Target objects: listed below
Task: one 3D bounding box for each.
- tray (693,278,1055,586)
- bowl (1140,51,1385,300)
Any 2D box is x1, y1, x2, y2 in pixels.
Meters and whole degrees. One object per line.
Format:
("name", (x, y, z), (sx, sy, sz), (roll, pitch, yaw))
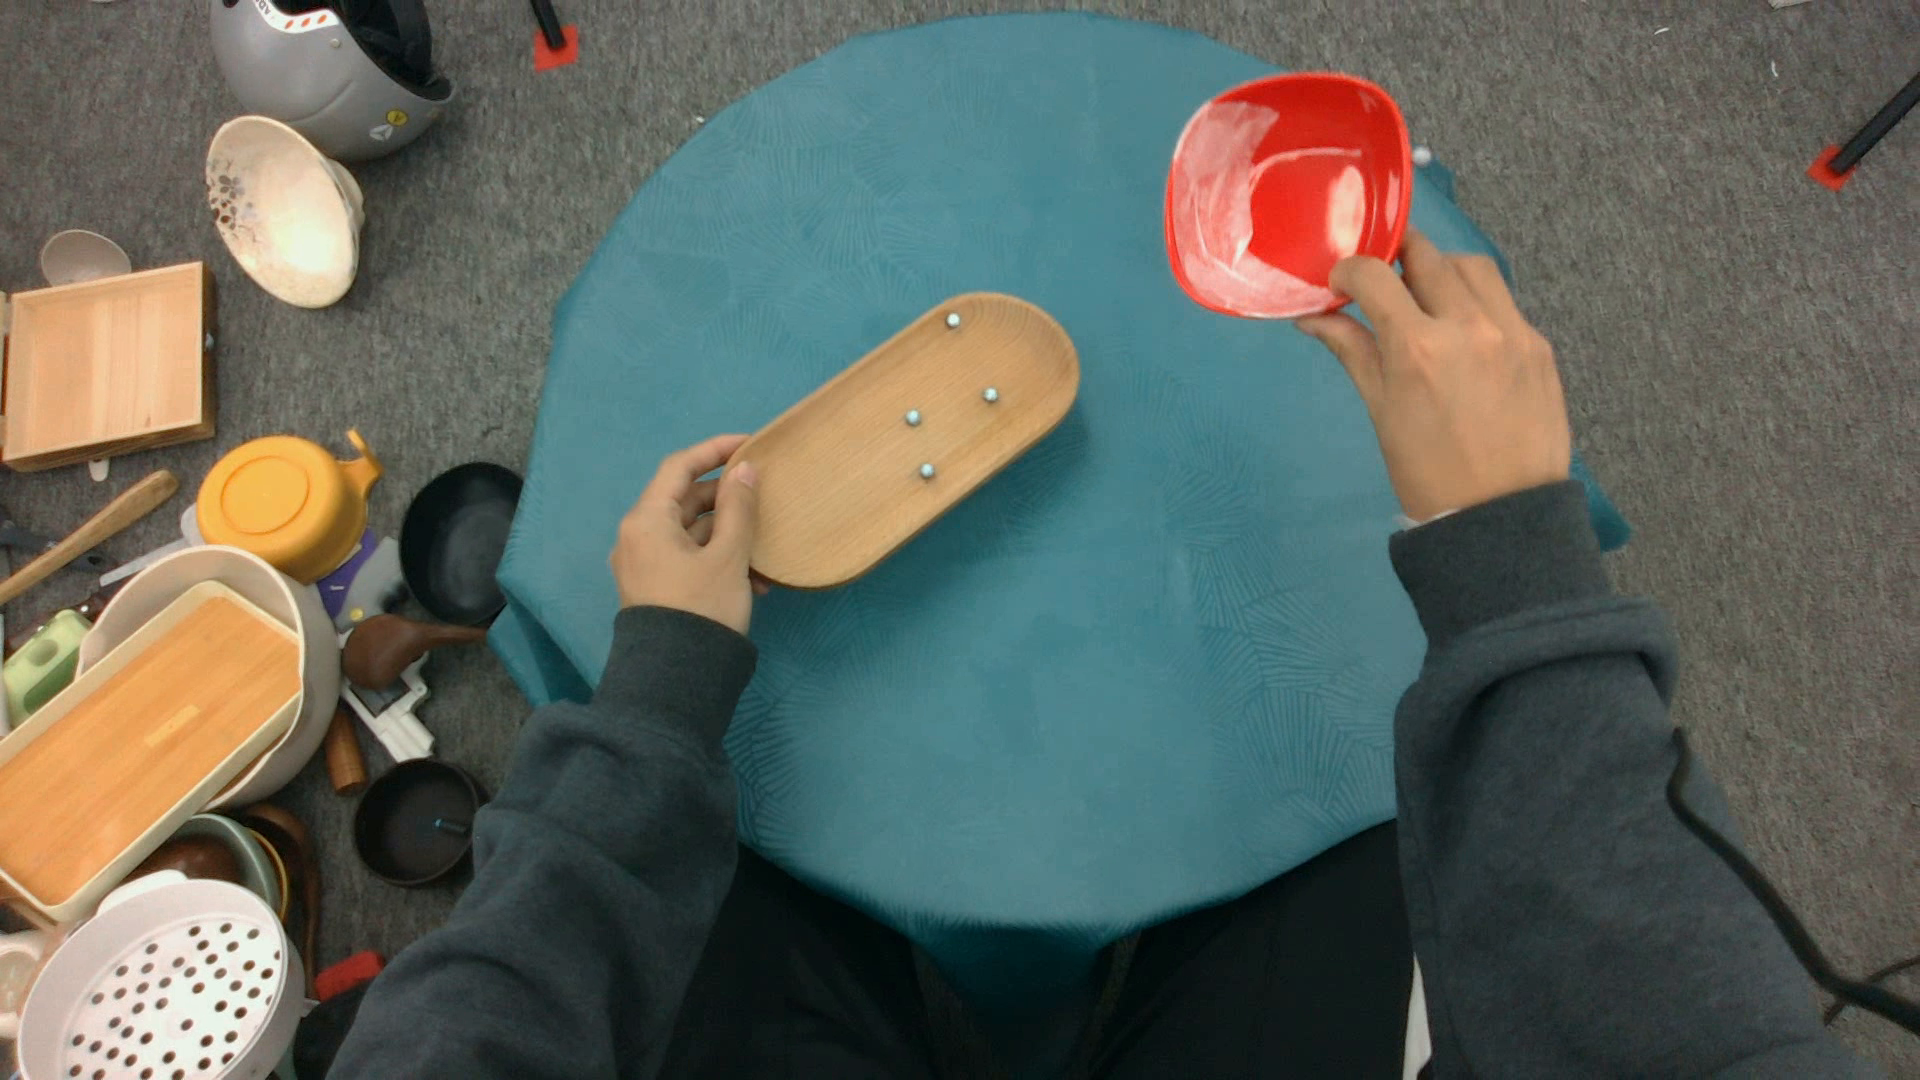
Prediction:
("tray", (-0.044, -0.062, 0.757), (0.232, 0.020, 0.102), (-41, 75, -19))
("bowl", (0.143, -0.162, 0.635), (0.118, 0.051, 0.119), (0, 89, 27))
